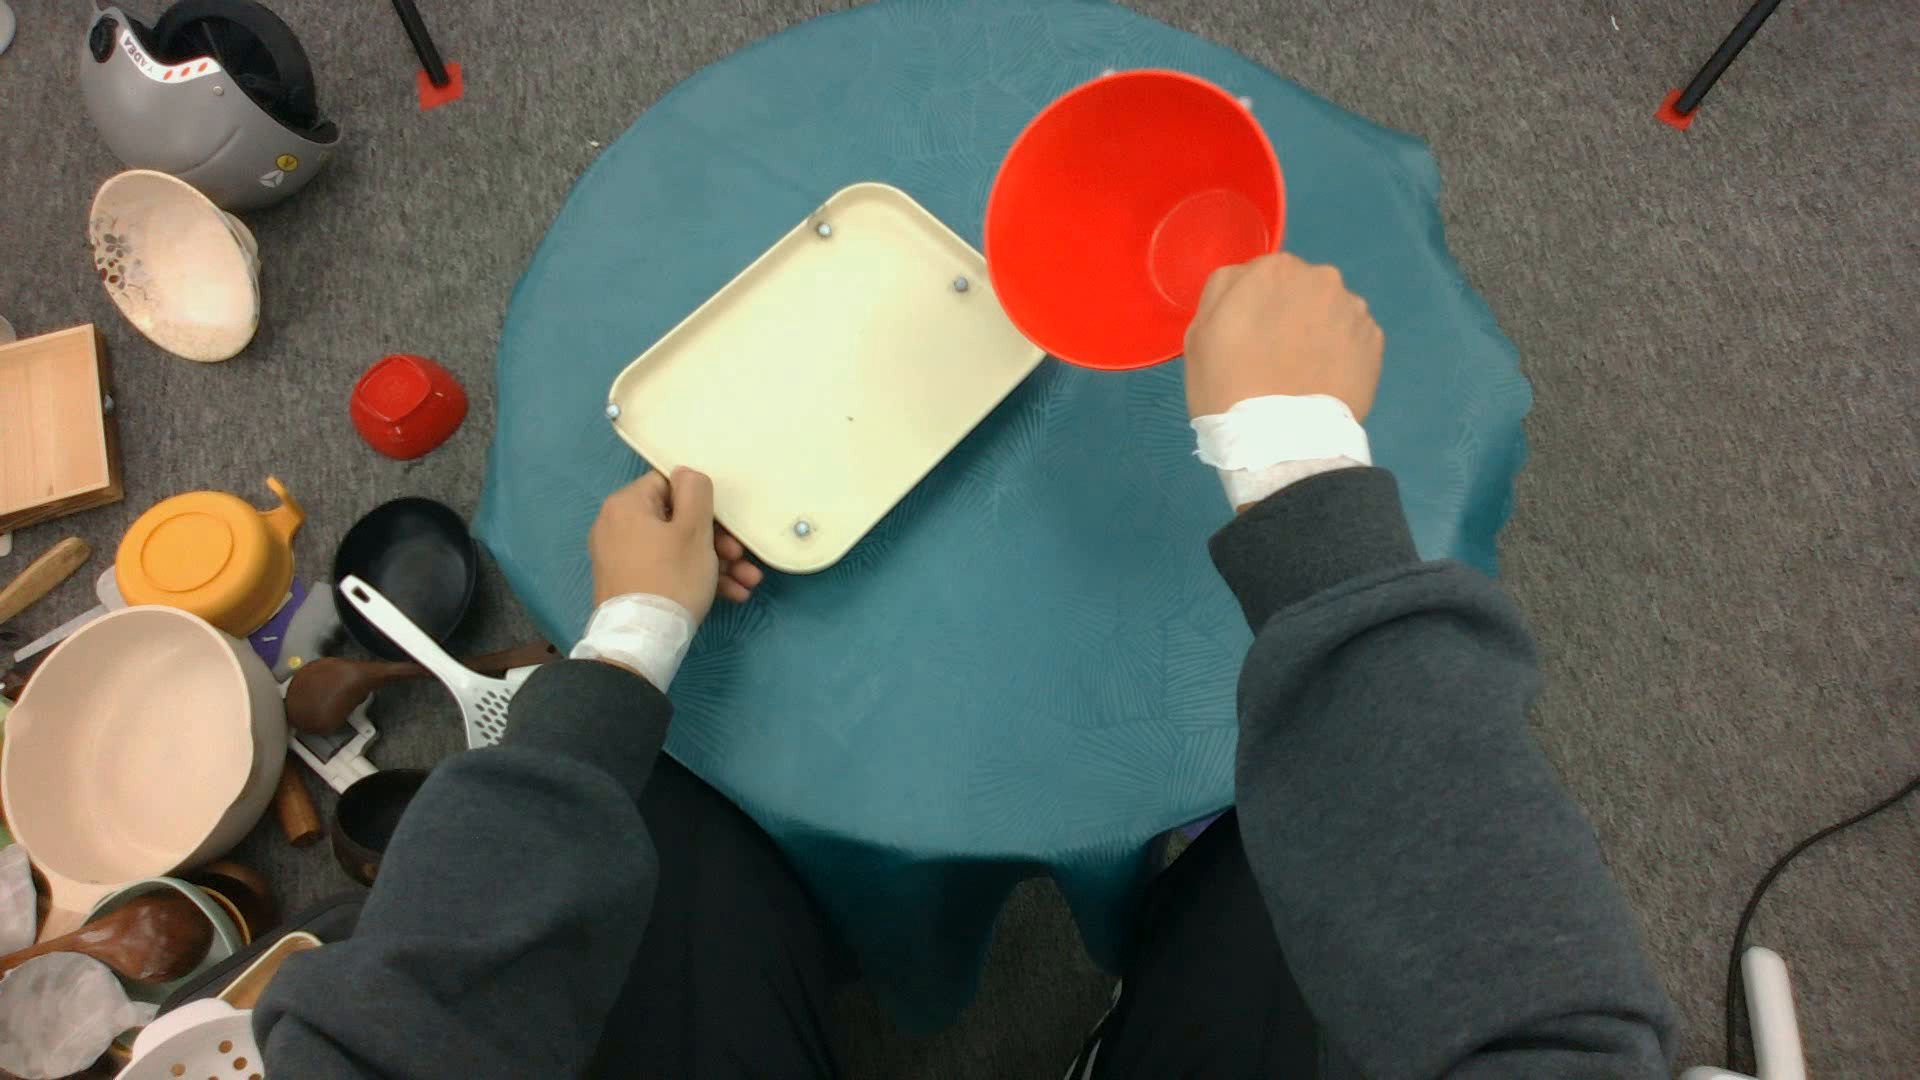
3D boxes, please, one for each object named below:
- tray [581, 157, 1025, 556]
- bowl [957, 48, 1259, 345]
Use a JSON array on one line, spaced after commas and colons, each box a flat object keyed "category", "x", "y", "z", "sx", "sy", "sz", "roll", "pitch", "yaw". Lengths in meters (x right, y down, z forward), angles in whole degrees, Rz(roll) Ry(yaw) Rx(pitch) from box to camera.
[{"category": "tray", "x": -0.088, "y": -0.113, "z": 0.811, "sx": 0.171, "sy": 0.017, "sz": 0.240, "roll": 40, "pitch": 69, "yaw": 9}, {"category": "bowl", "x": 0.088, "y": -0.168, "z": 0.711, "sx": 0.147, "sy": 0.105, "sz": 0.148, "roll": -1, "pitch": 88, "yaw": 31}]
